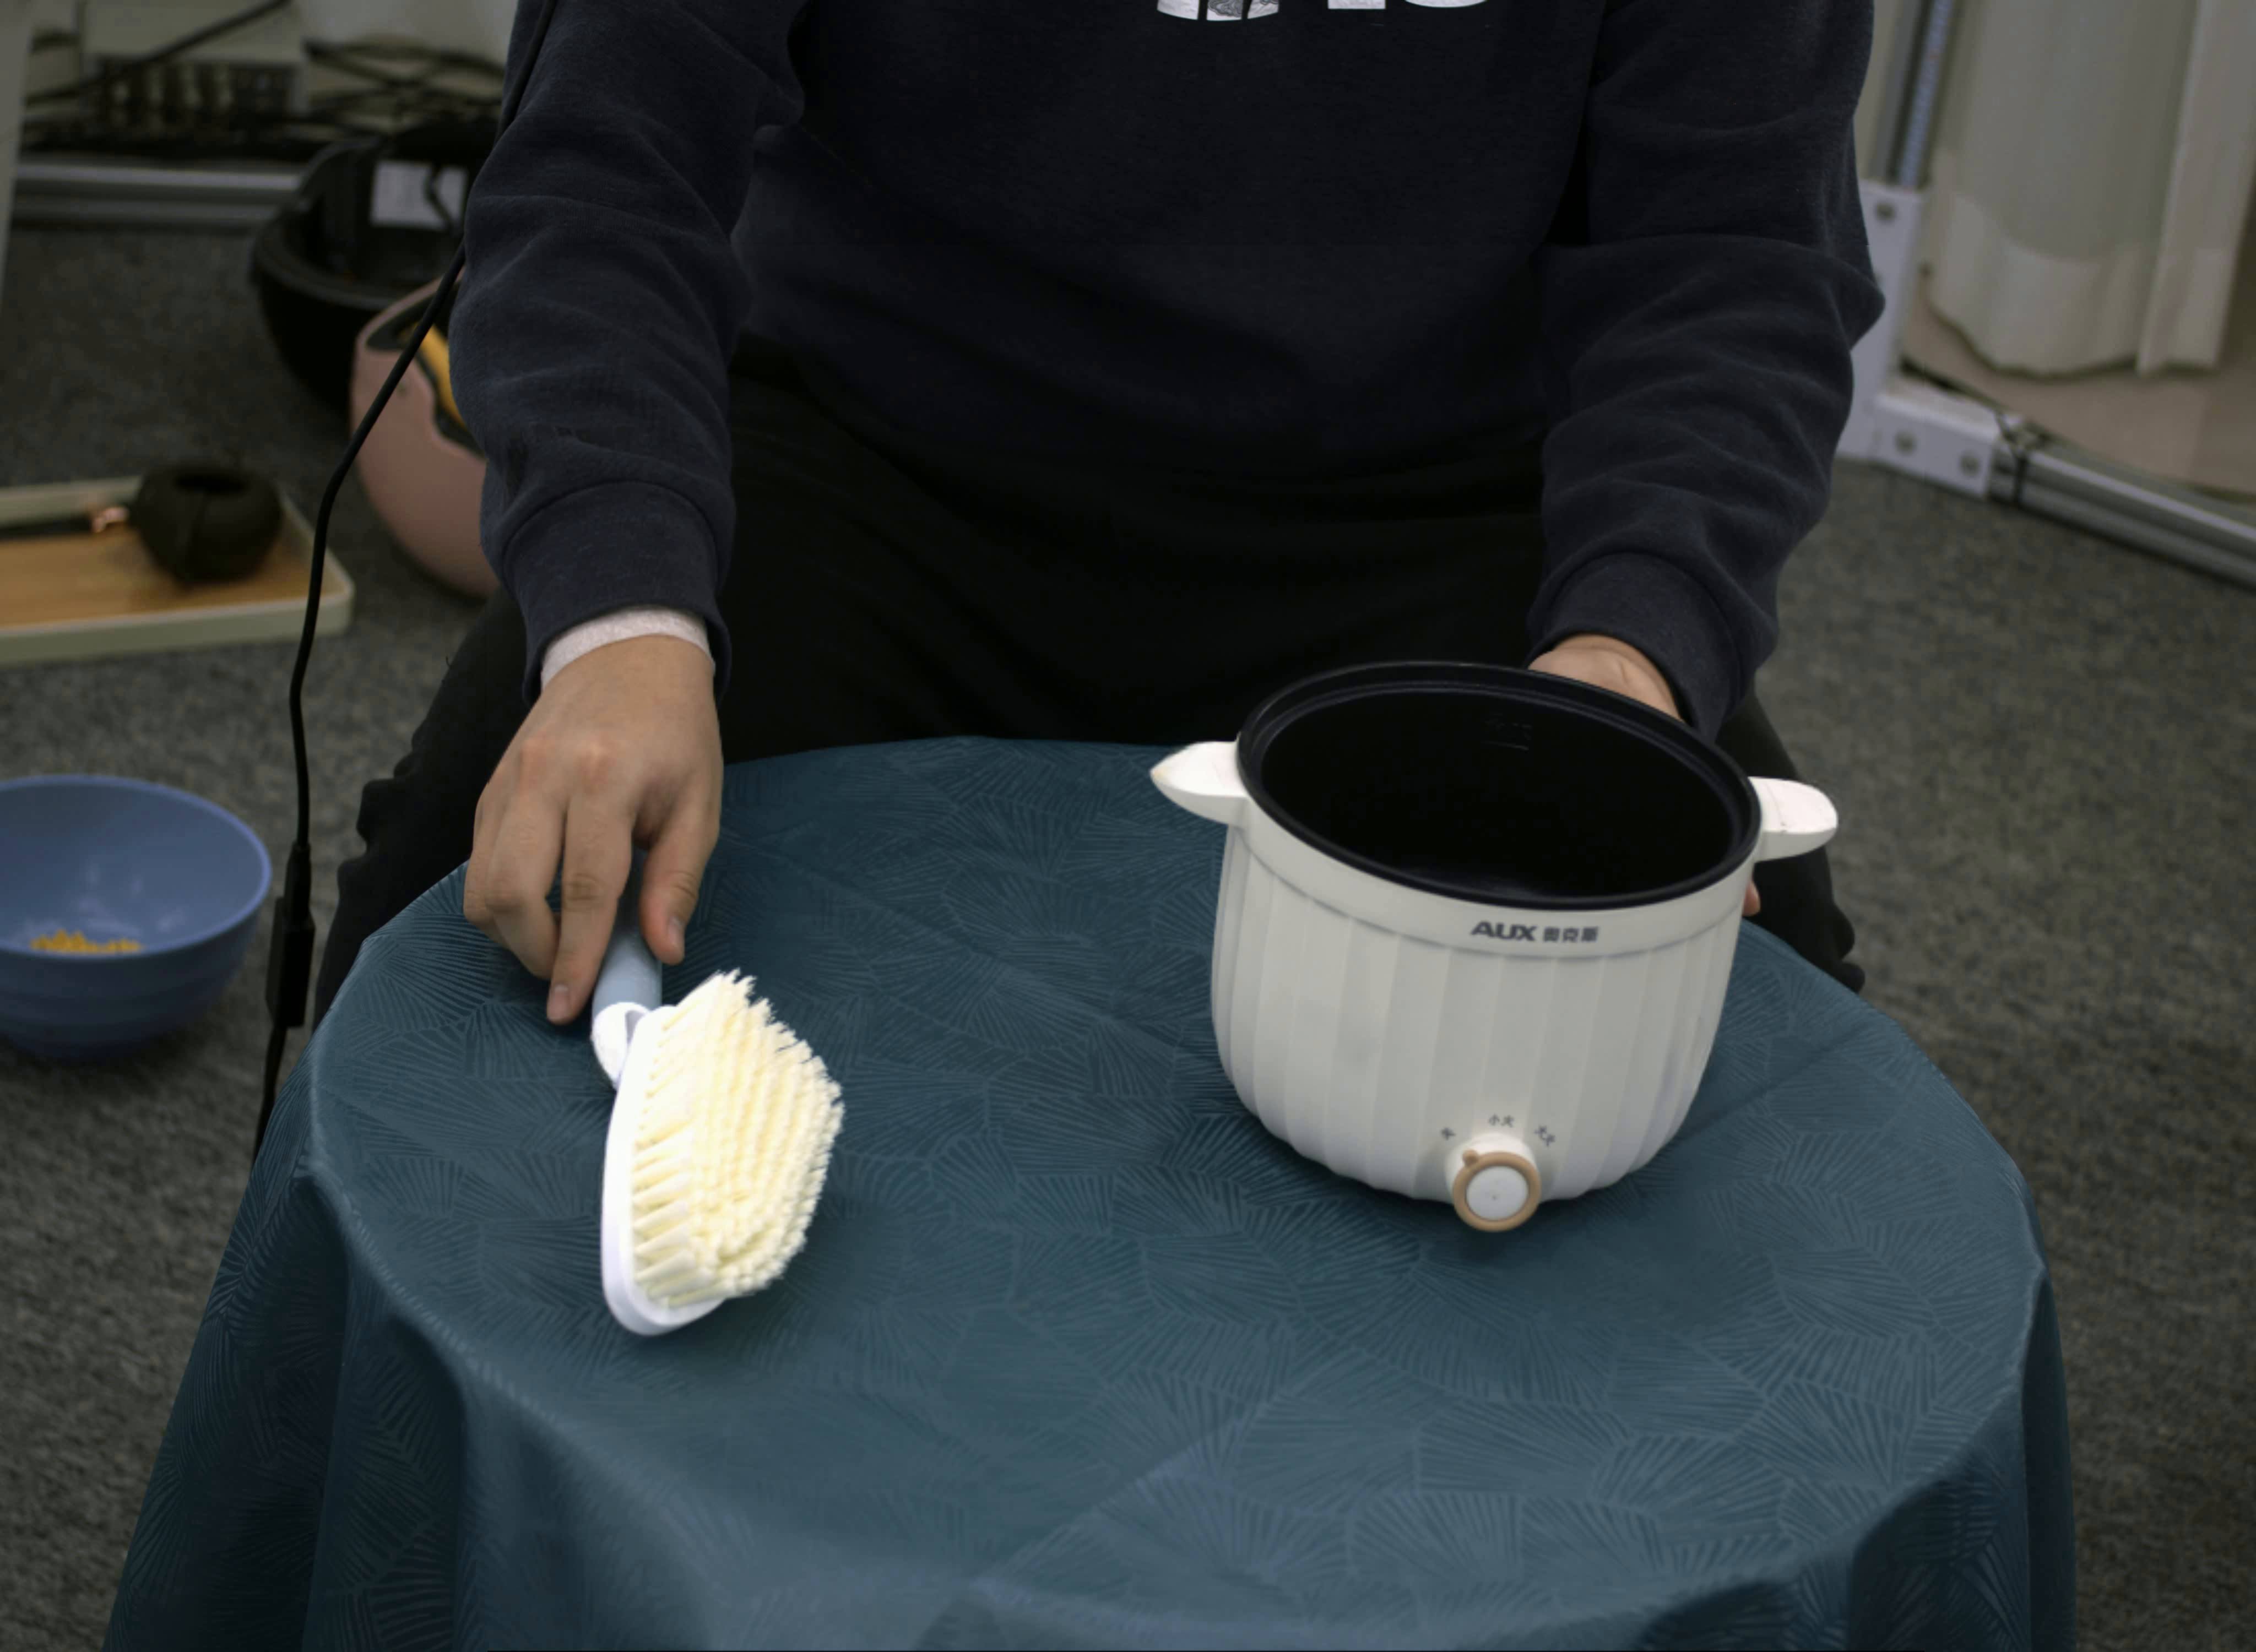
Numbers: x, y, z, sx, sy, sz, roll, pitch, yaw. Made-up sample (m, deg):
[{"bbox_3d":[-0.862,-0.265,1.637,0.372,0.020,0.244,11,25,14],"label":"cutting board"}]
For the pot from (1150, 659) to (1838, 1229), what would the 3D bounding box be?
[{"bbox_3d":[0.121,0.044,1.840,0.239,0.142,0.192,3,24,-7],"label":"pot"}]

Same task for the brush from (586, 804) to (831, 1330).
[{"bbox_3d":[-0.144,0.057,1.811,0.084,0.083,0.328,0,29,-4],"label":"brush"}]
